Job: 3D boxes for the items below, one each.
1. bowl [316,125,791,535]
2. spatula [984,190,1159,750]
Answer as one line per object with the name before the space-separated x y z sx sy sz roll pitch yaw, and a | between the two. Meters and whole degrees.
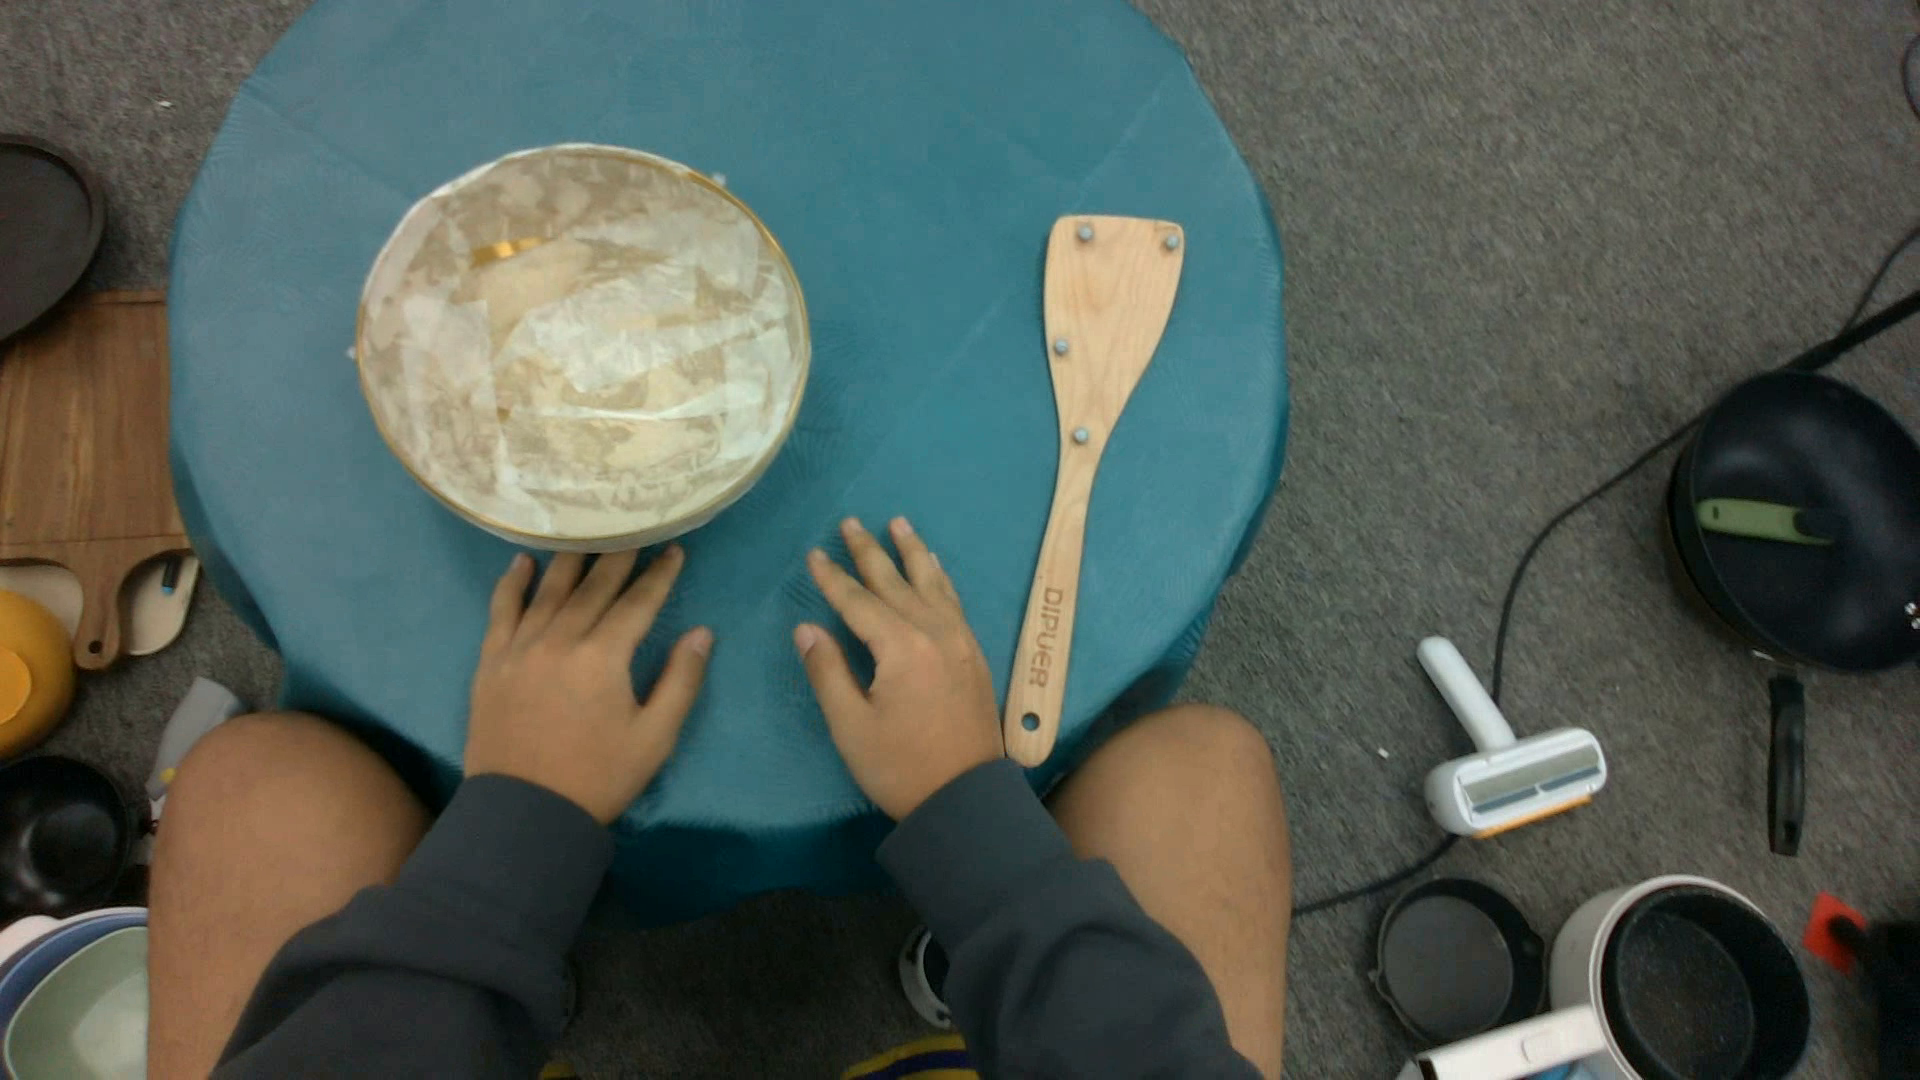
bowl | -0.187 -0.086 0.664 0.215 0.094 0.215 3 70 -9
spatula | 0.050 -0.049 0.738 0.080 0.016 0.328 13 70 -7
